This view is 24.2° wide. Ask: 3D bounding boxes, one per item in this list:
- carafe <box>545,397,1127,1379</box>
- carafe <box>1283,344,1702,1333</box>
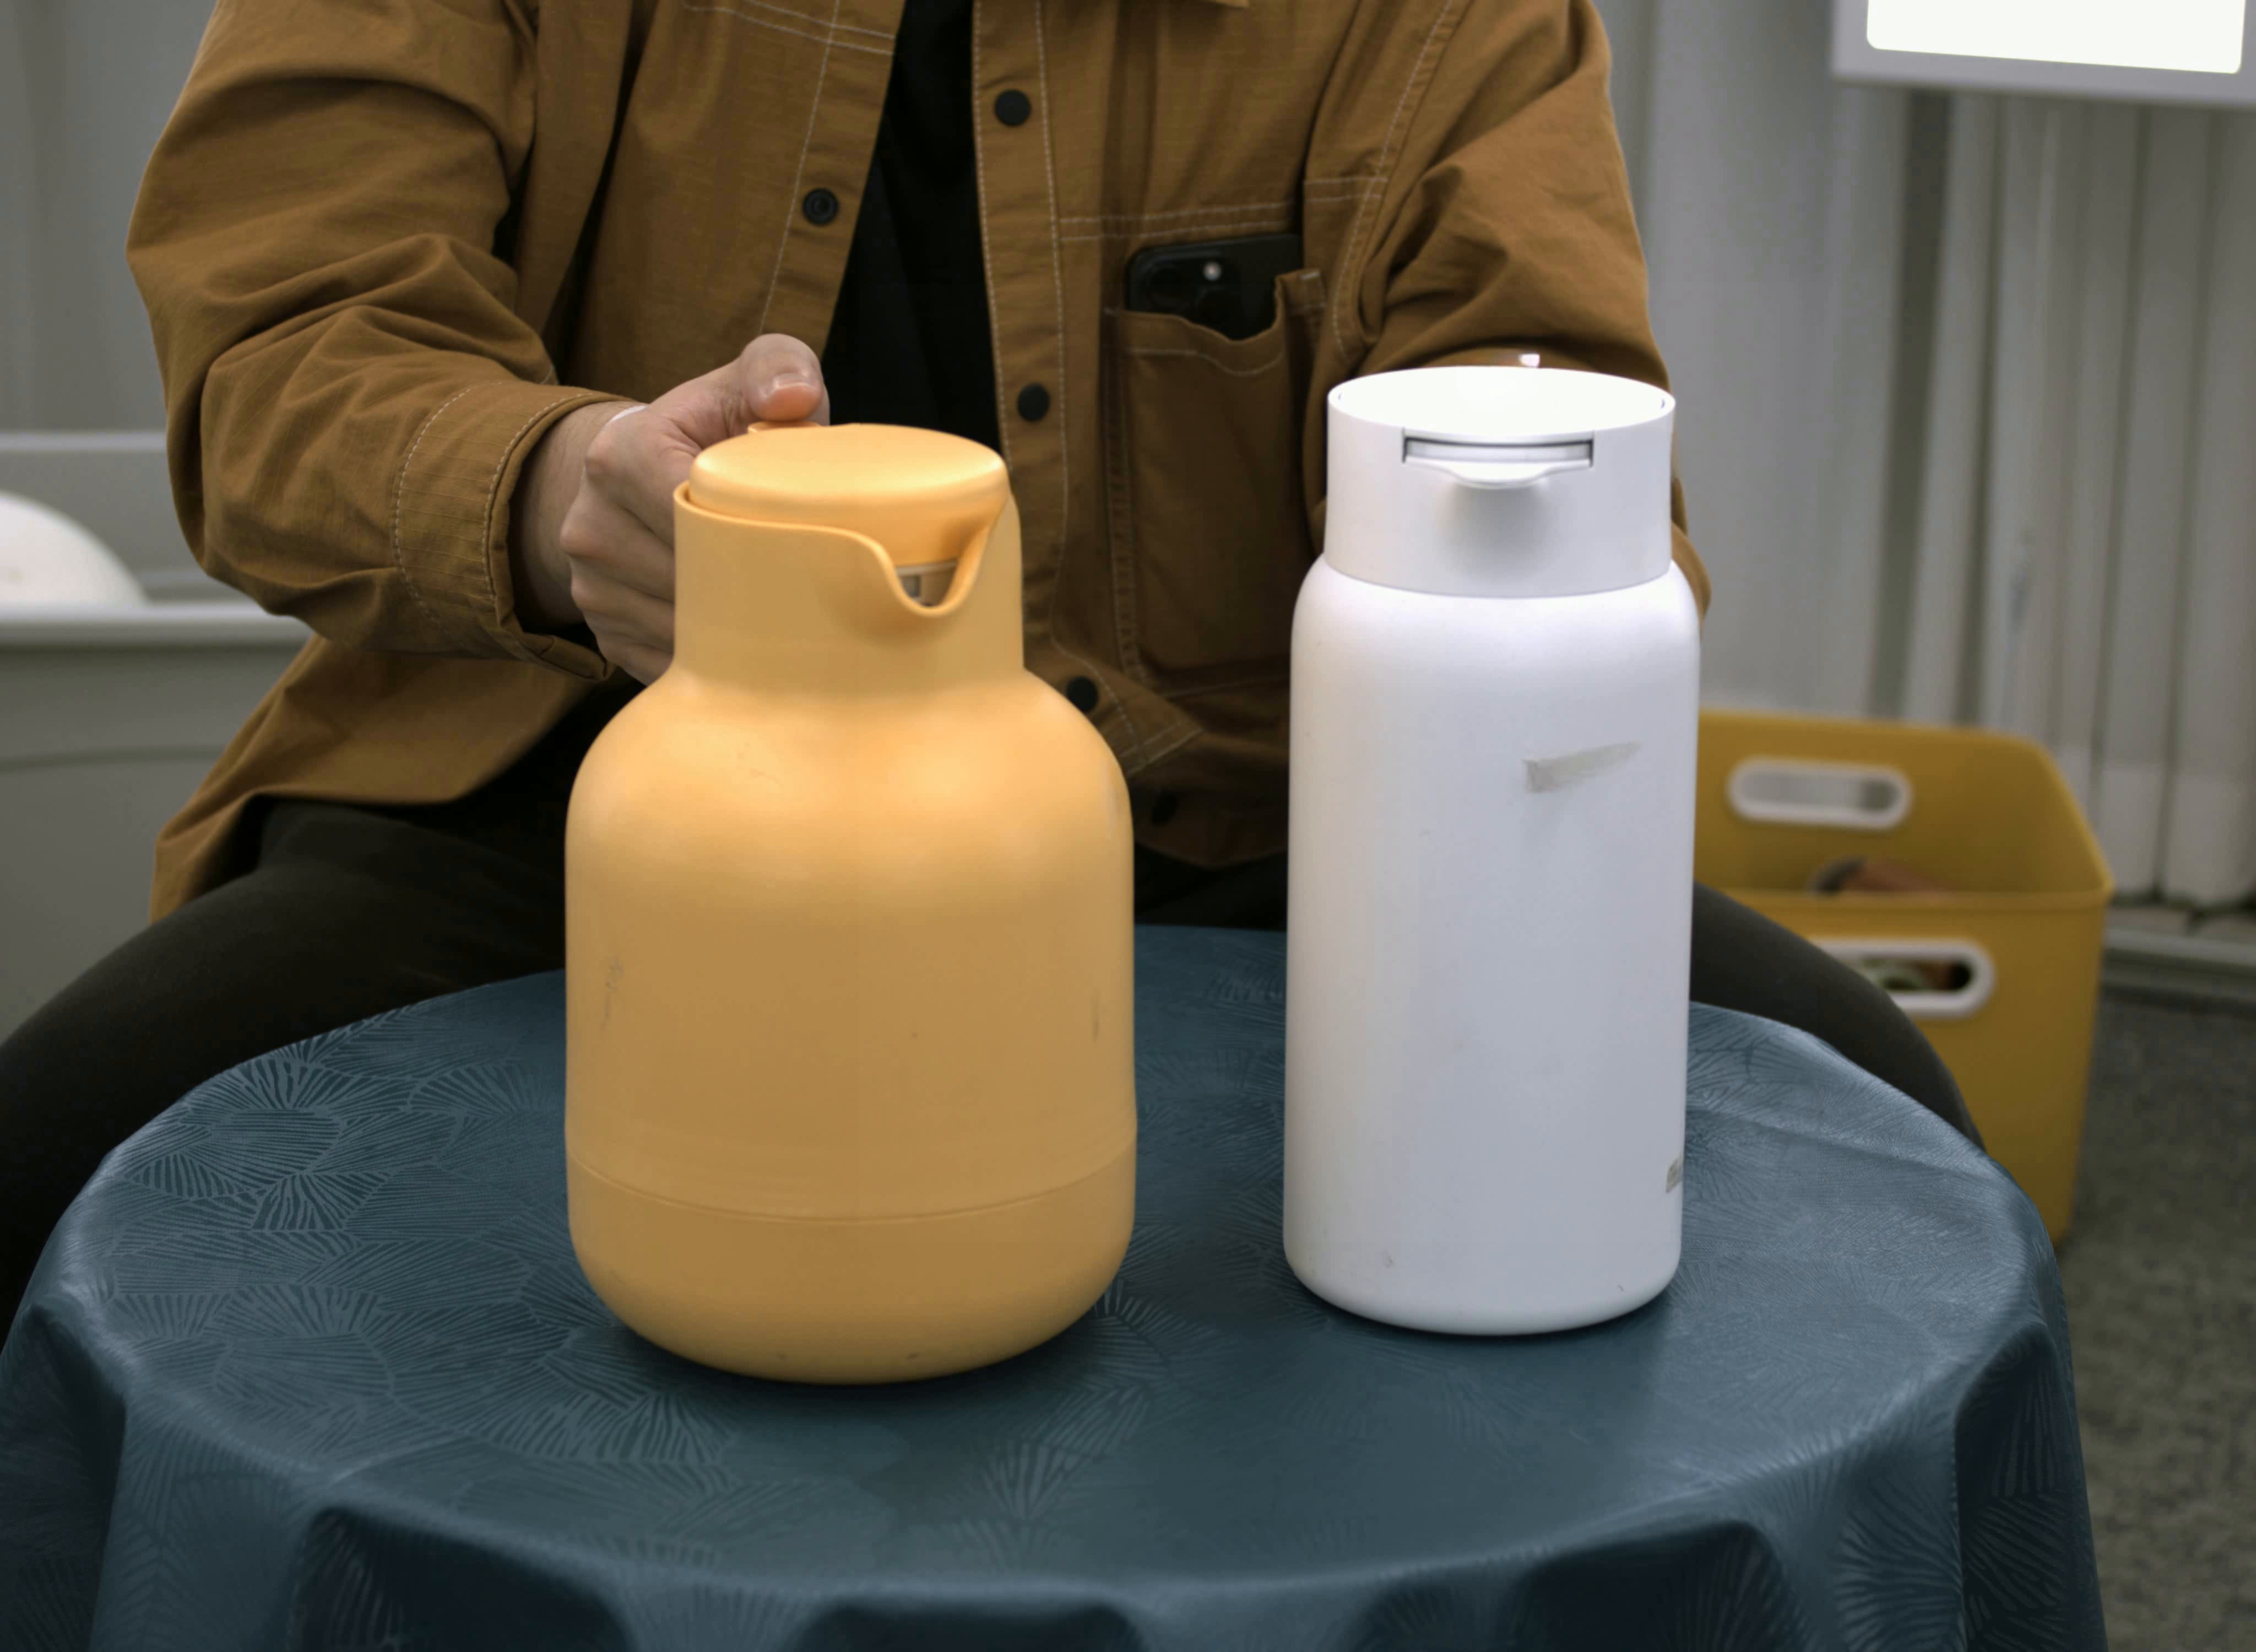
[{"bbox_3d":[-0.085,0.009,1.495,0.164,0.262,0.200,-2,17,-19],"label":"carafe"},{"bbox_3d":[0.104,-0.001,1.531,0.123,0.271,0.172,-1,16,4],"label":"carafe"}]
